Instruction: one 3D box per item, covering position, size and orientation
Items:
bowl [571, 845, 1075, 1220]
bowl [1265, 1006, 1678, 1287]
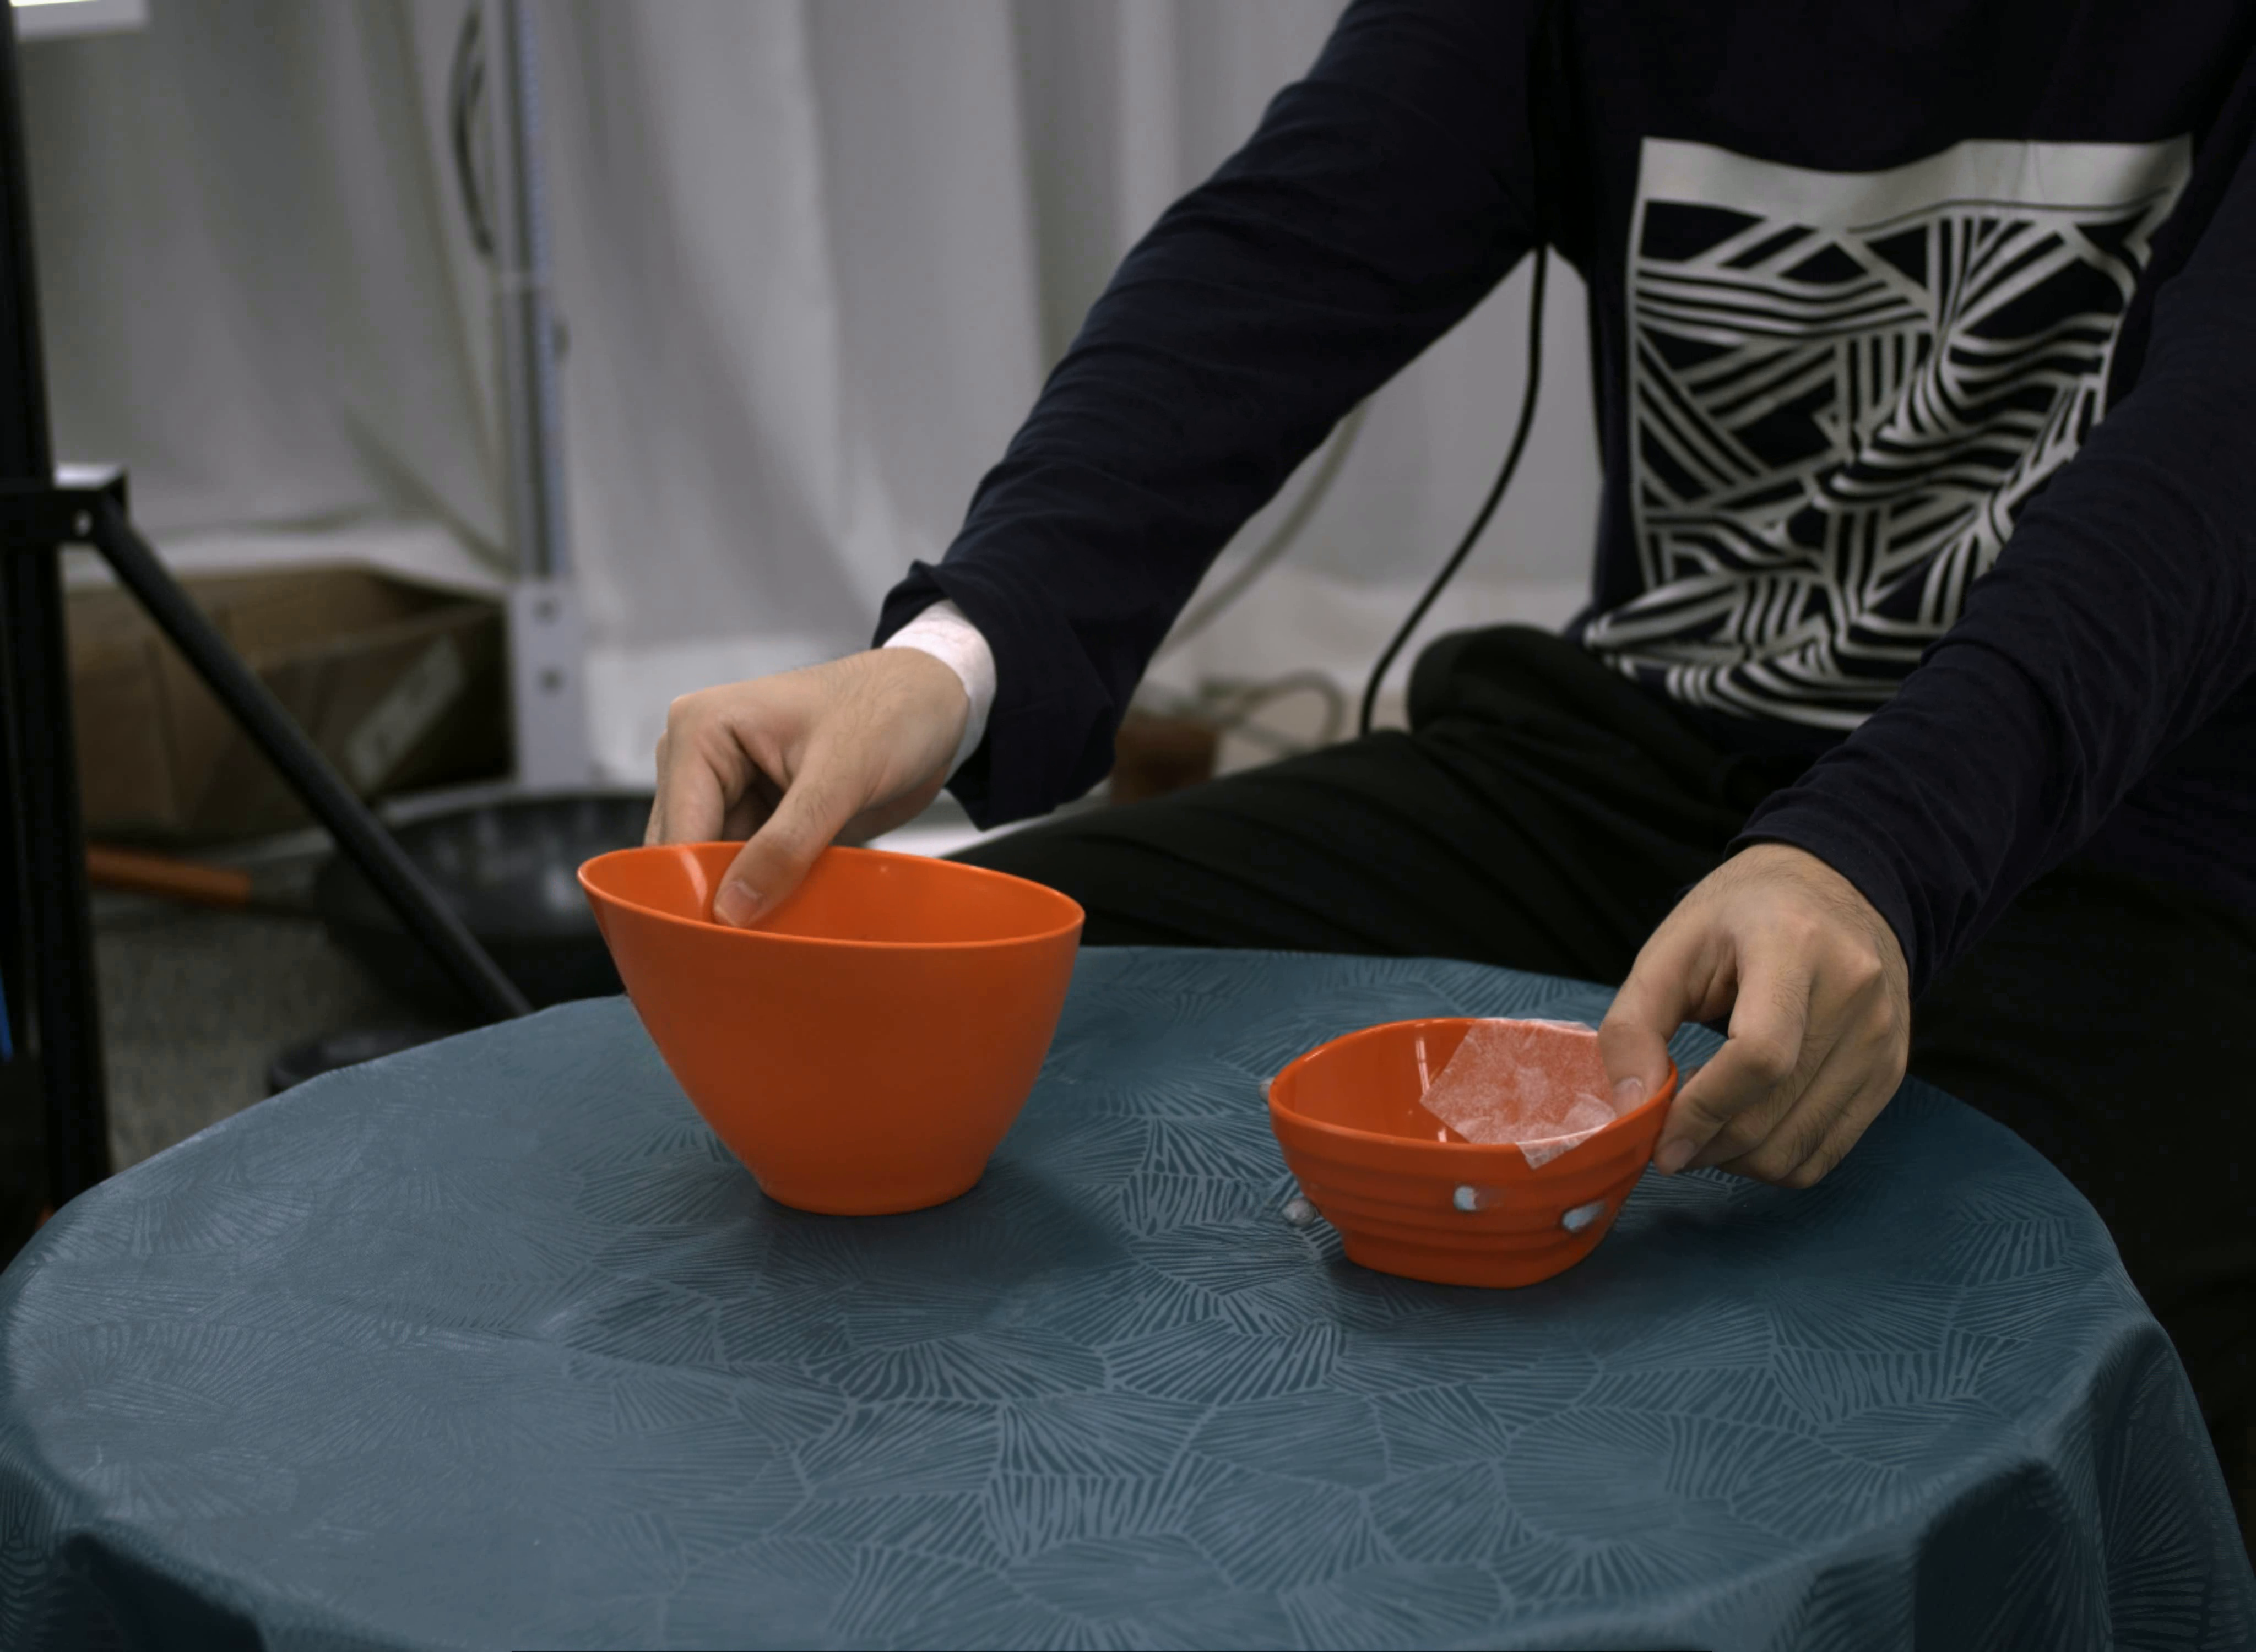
[{"bbox_3d":[-0.087,0.059,1.565,0.147,0.104,0.149,-3,15,-1],"label":"bowl"},{"bbox_3d":[0.098,0.093,1.498,0.118,0.051,0.119,-4,17,0],"label":"bowl"}]
